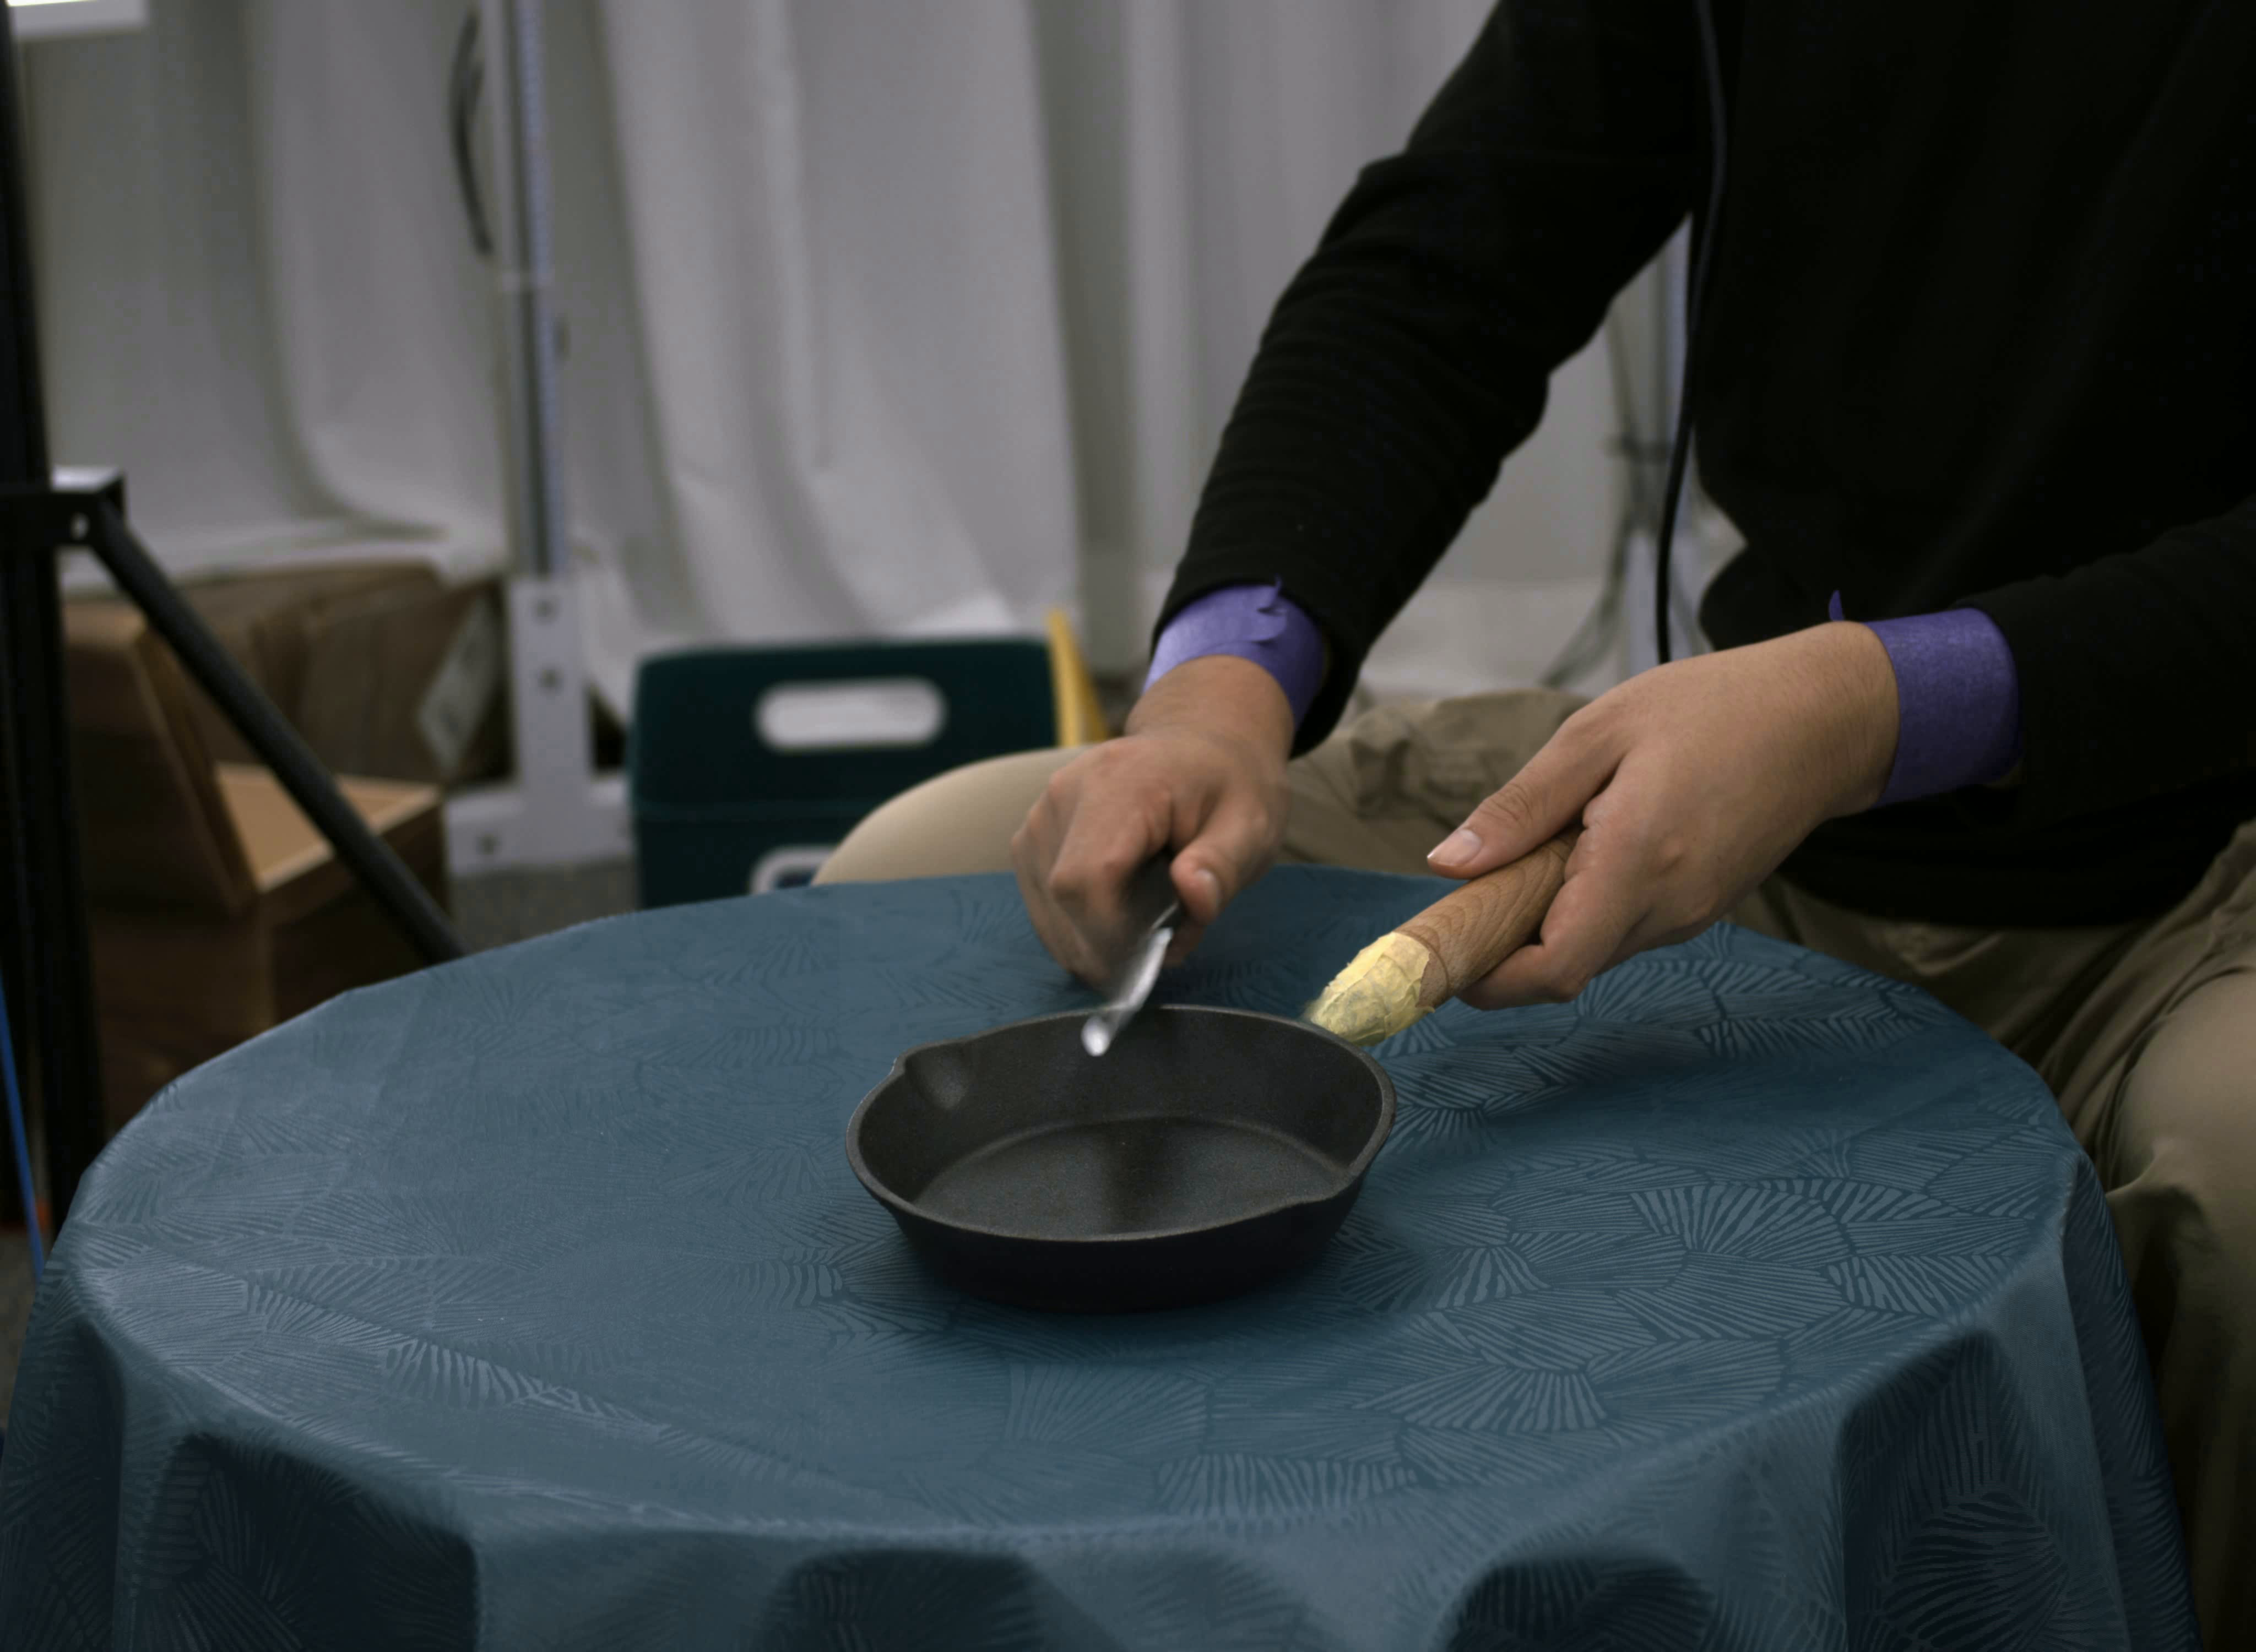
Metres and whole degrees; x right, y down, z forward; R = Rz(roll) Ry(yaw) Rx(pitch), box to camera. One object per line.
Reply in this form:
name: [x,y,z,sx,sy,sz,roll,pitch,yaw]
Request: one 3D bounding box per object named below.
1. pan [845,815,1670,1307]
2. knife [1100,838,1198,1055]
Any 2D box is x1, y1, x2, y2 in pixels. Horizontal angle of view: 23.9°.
pan: [0.057,0.065,1.561,0.317,0.049,0.173,-23,28,-39]
knife: [0.005,0.039,1.623,0.024,0.016,0.238,-25,10,9]
